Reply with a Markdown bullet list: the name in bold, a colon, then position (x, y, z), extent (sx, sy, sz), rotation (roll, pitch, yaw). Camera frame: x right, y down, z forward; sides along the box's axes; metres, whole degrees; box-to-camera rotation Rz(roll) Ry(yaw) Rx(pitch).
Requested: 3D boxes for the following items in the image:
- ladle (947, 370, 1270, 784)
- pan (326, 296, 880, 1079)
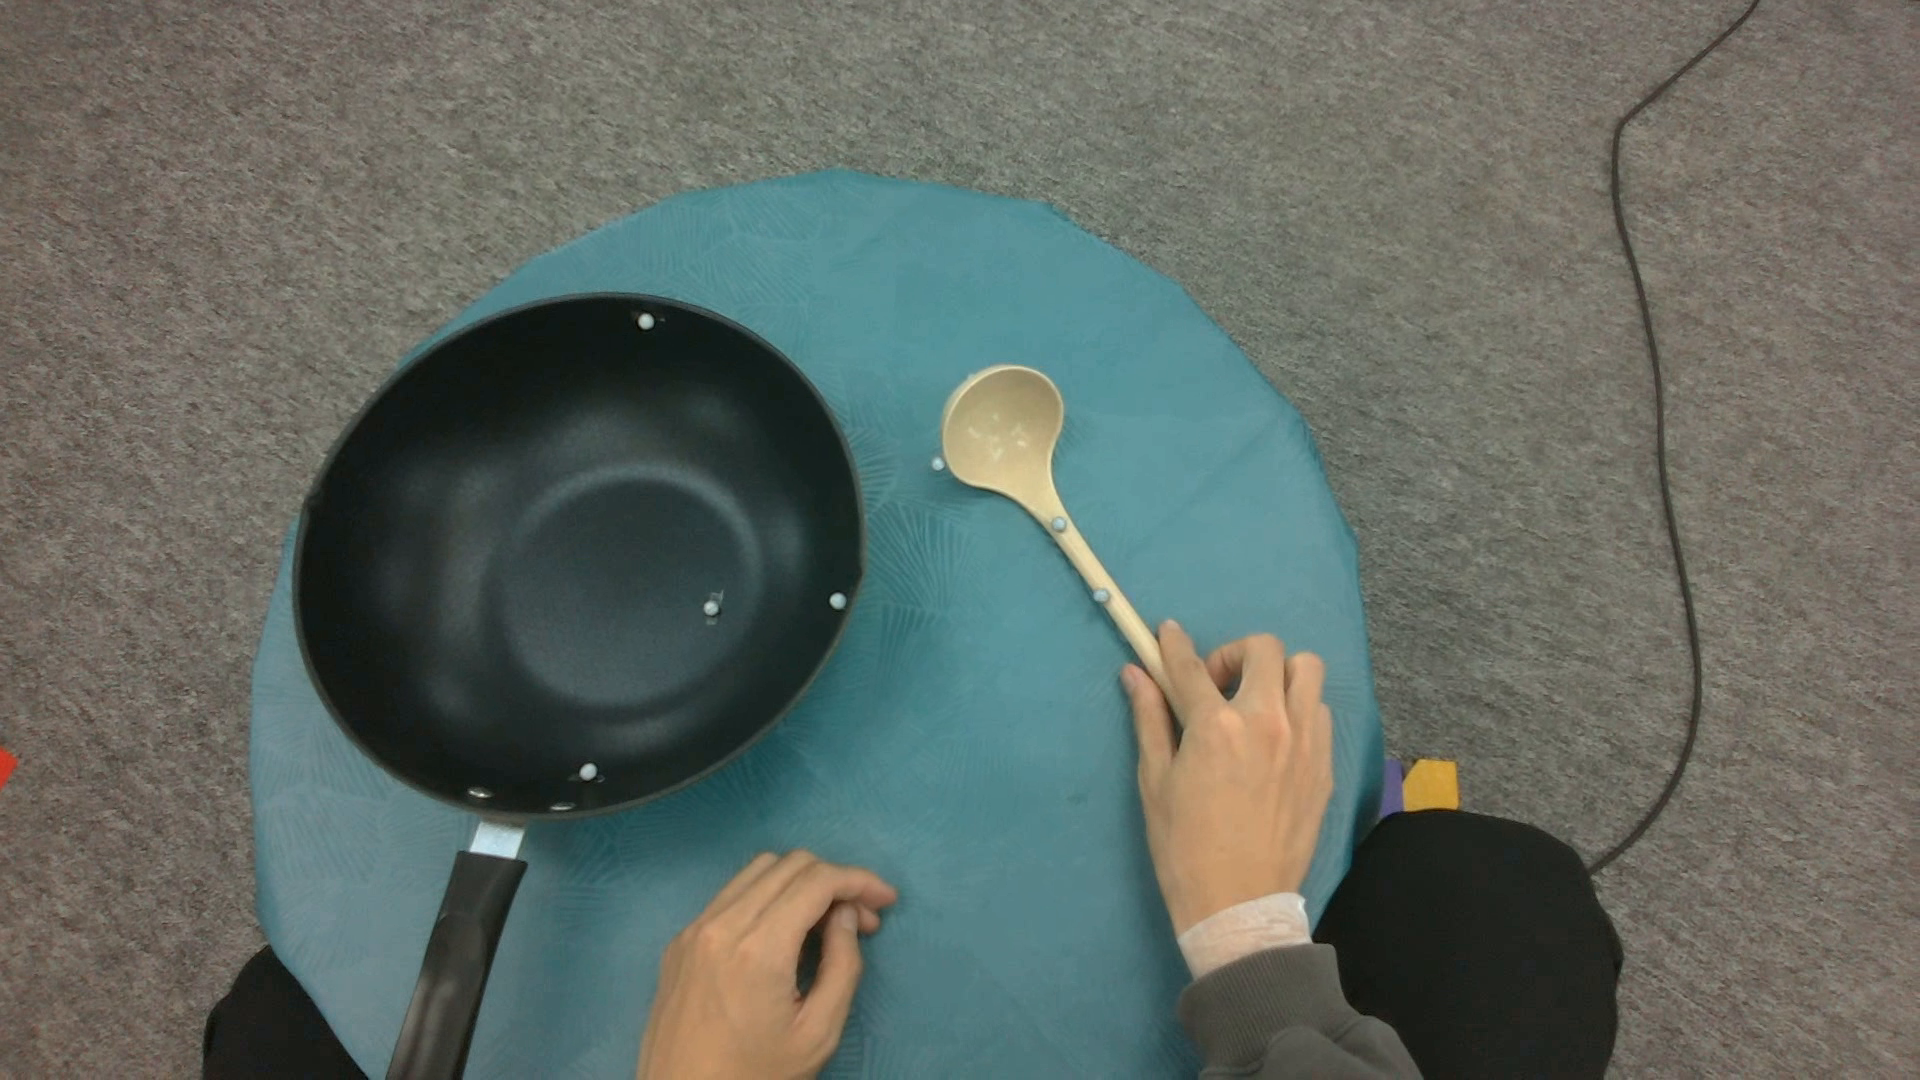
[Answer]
- **ladle**: position (0.082, 0.016, 0.720), extent (0.072, 0.072, 0.255), rotation (-34, 69, -9)
- **pan**: position (-0.196, 0.098, 0.699), extent (0.288, 0.086, 0.465), rotation (8, 70, 7)
